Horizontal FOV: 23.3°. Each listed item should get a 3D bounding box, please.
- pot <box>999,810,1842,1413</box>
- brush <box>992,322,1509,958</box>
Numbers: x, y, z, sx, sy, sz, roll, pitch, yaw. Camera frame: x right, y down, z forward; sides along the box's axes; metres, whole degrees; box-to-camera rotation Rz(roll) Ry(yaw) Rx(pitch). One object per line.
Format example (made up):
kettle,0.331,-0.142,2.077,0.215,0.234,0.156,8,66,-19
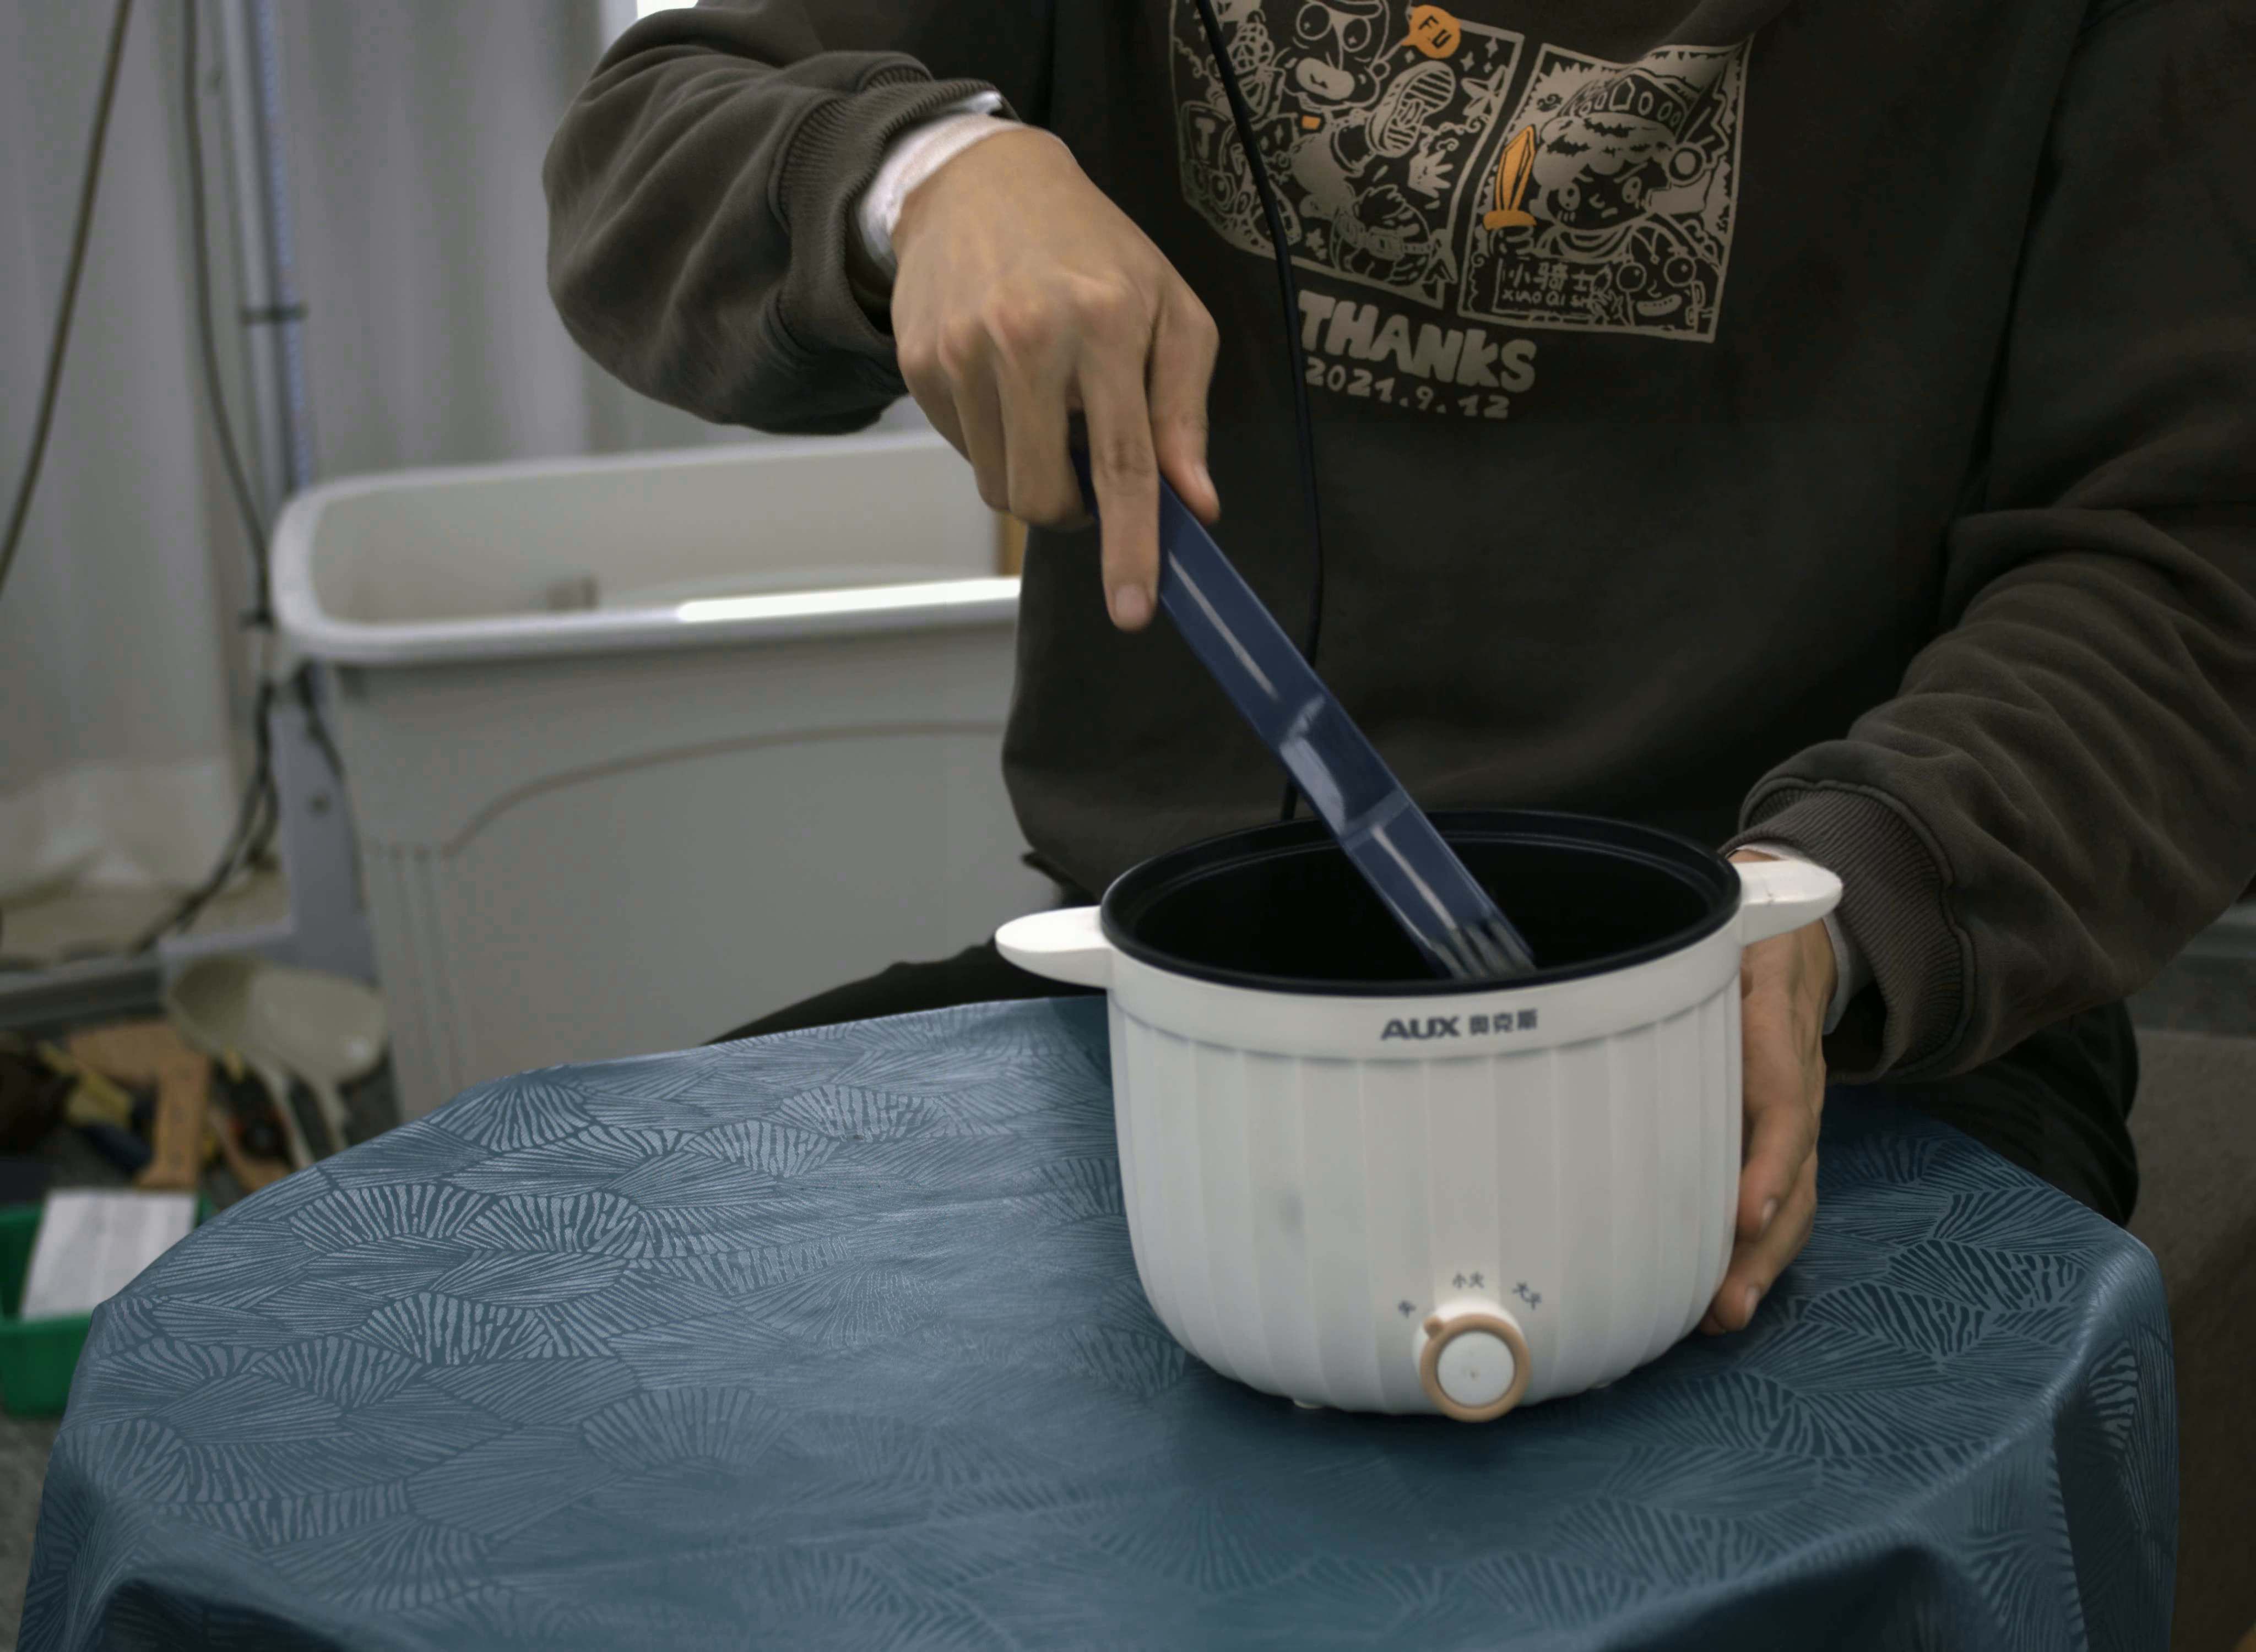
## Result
pot,0.088,0.084,1.553,0.239,0.142,0.191,-5,11,-3
brush,0.039,-0.045,1.602,0.033,0.276,0.095,-37,-19,4
